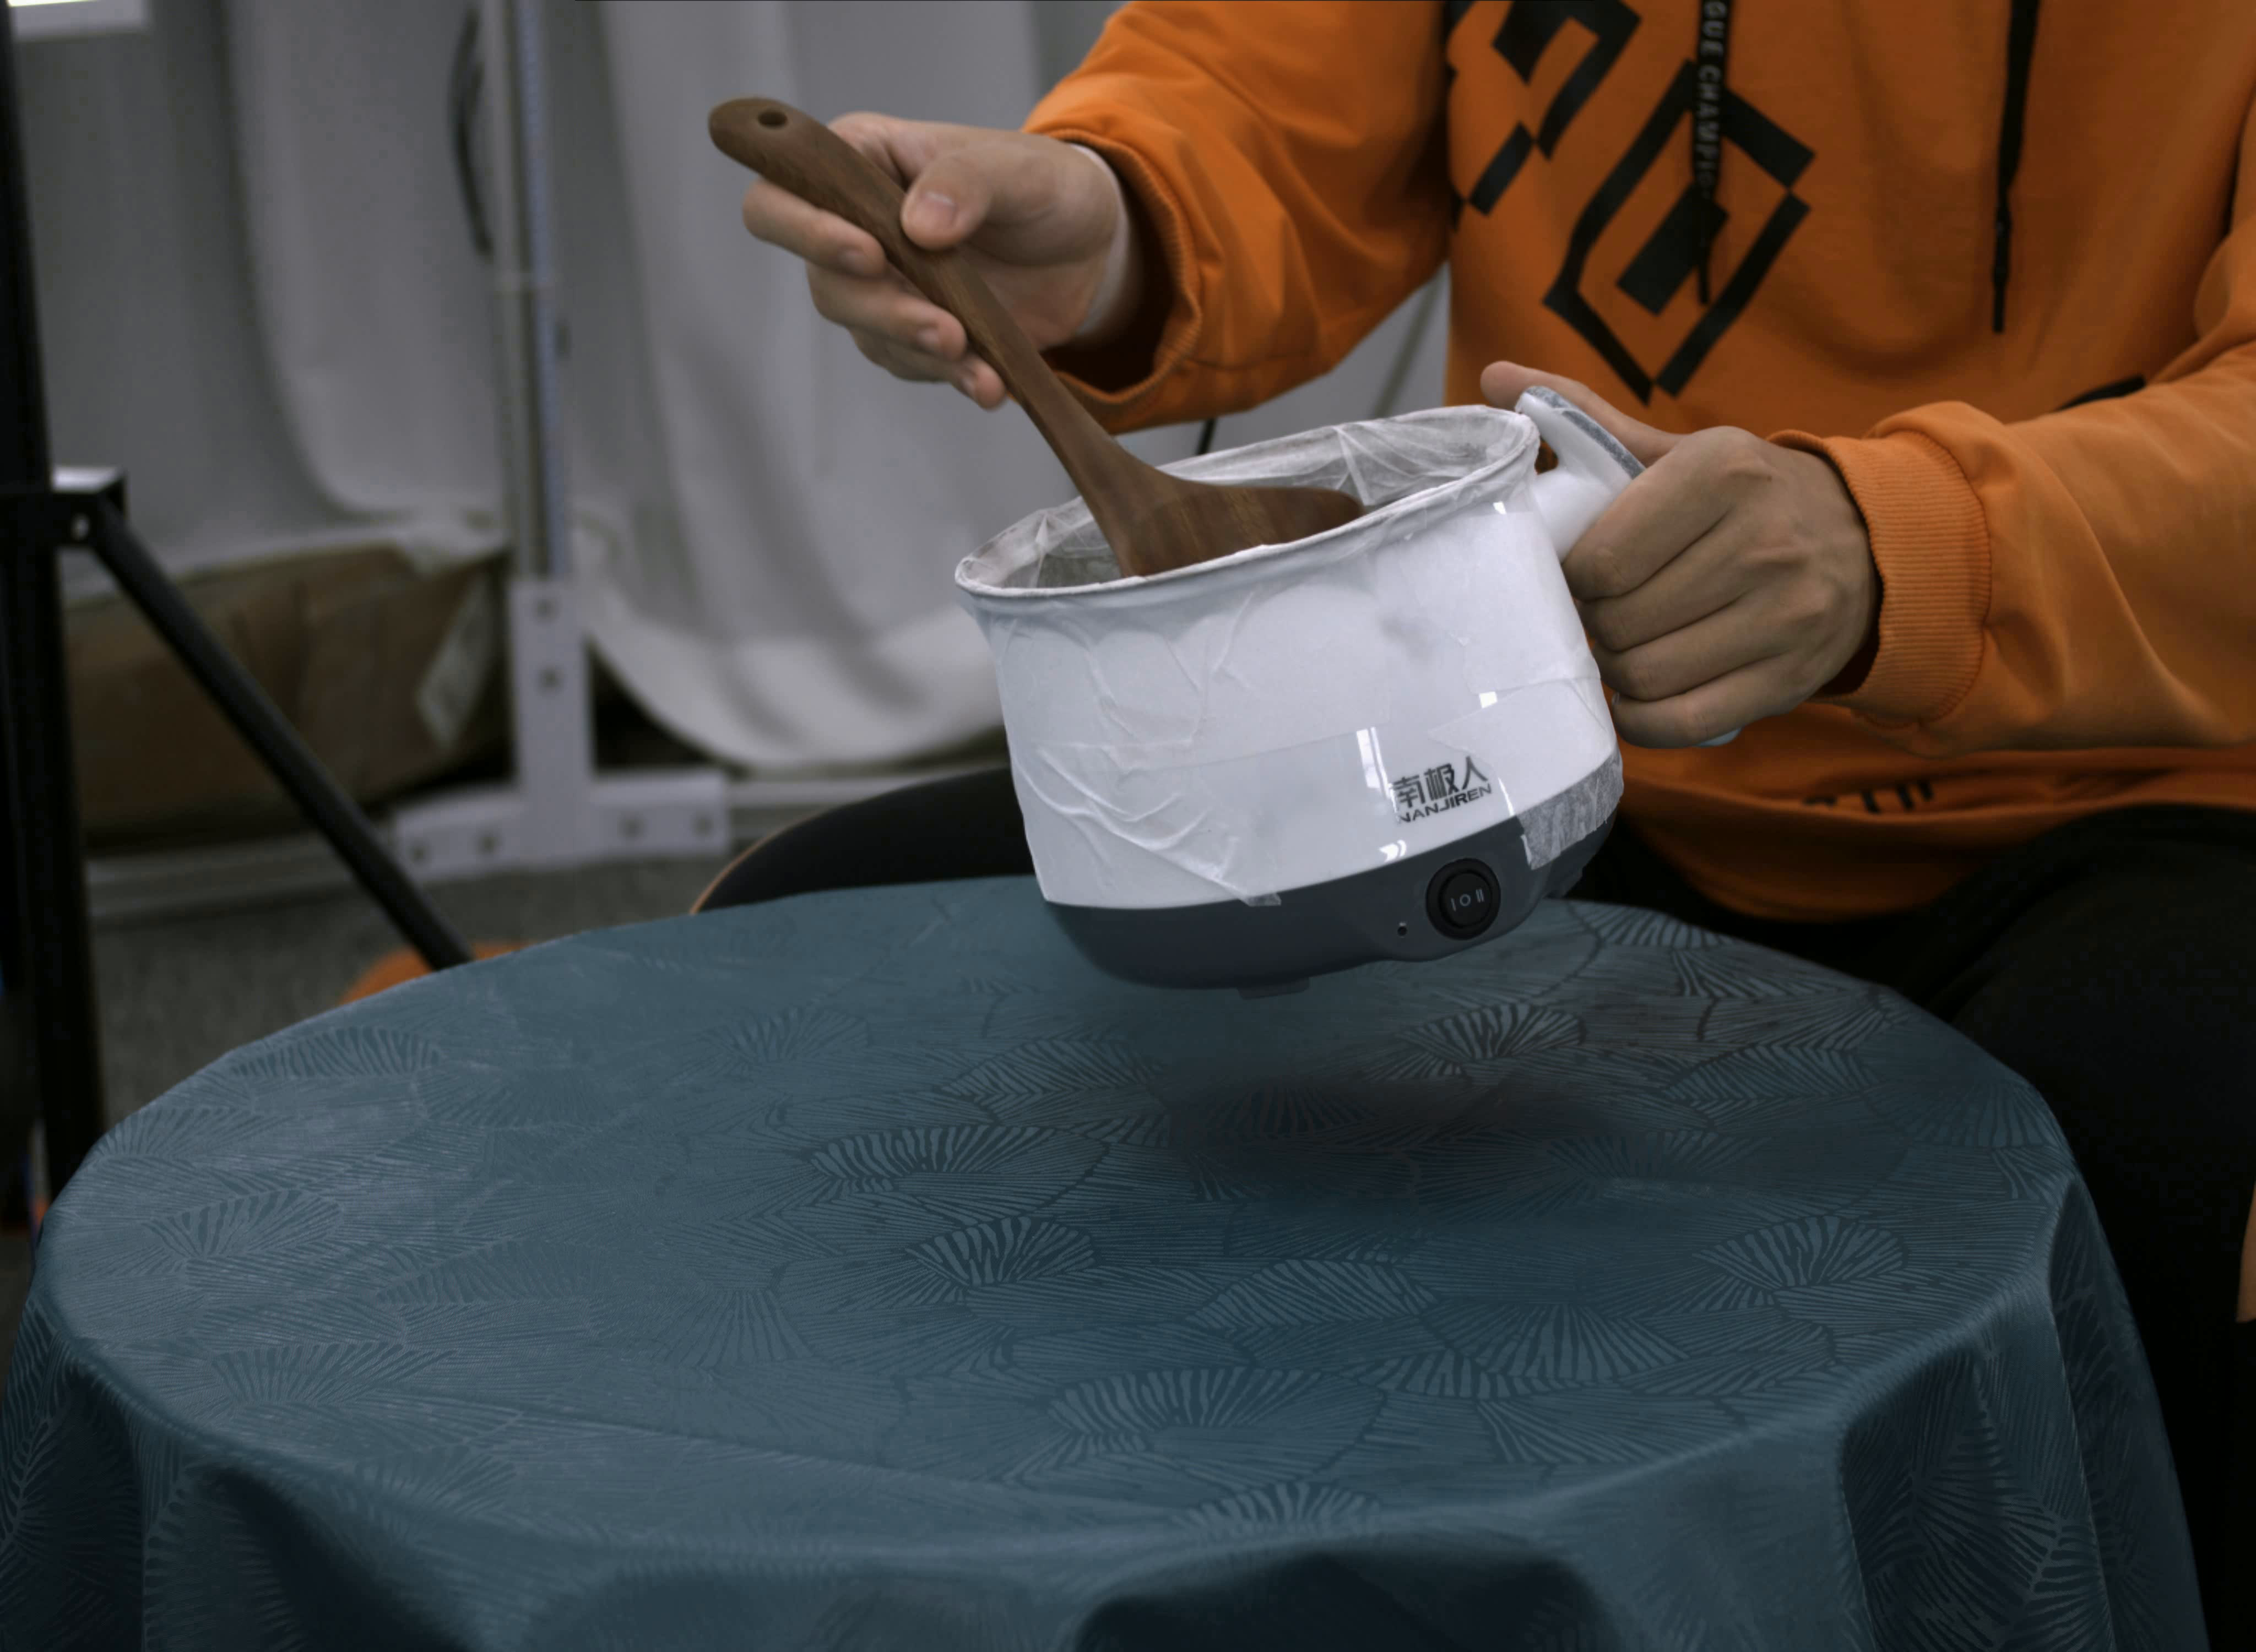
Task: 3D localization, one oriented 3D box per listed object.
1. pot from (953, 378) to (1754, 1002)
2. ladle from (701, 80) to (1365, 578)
[{"bbox_3d":[0.074,-0.045,1.580,0.230,0.136,0.182,-20,14,-20],"label":"pot"},{"bbox_3d":[-0.032,-0.148,1.585,0.075,0.065,0.263,-27,67,-41],"label":"ladle"}]
